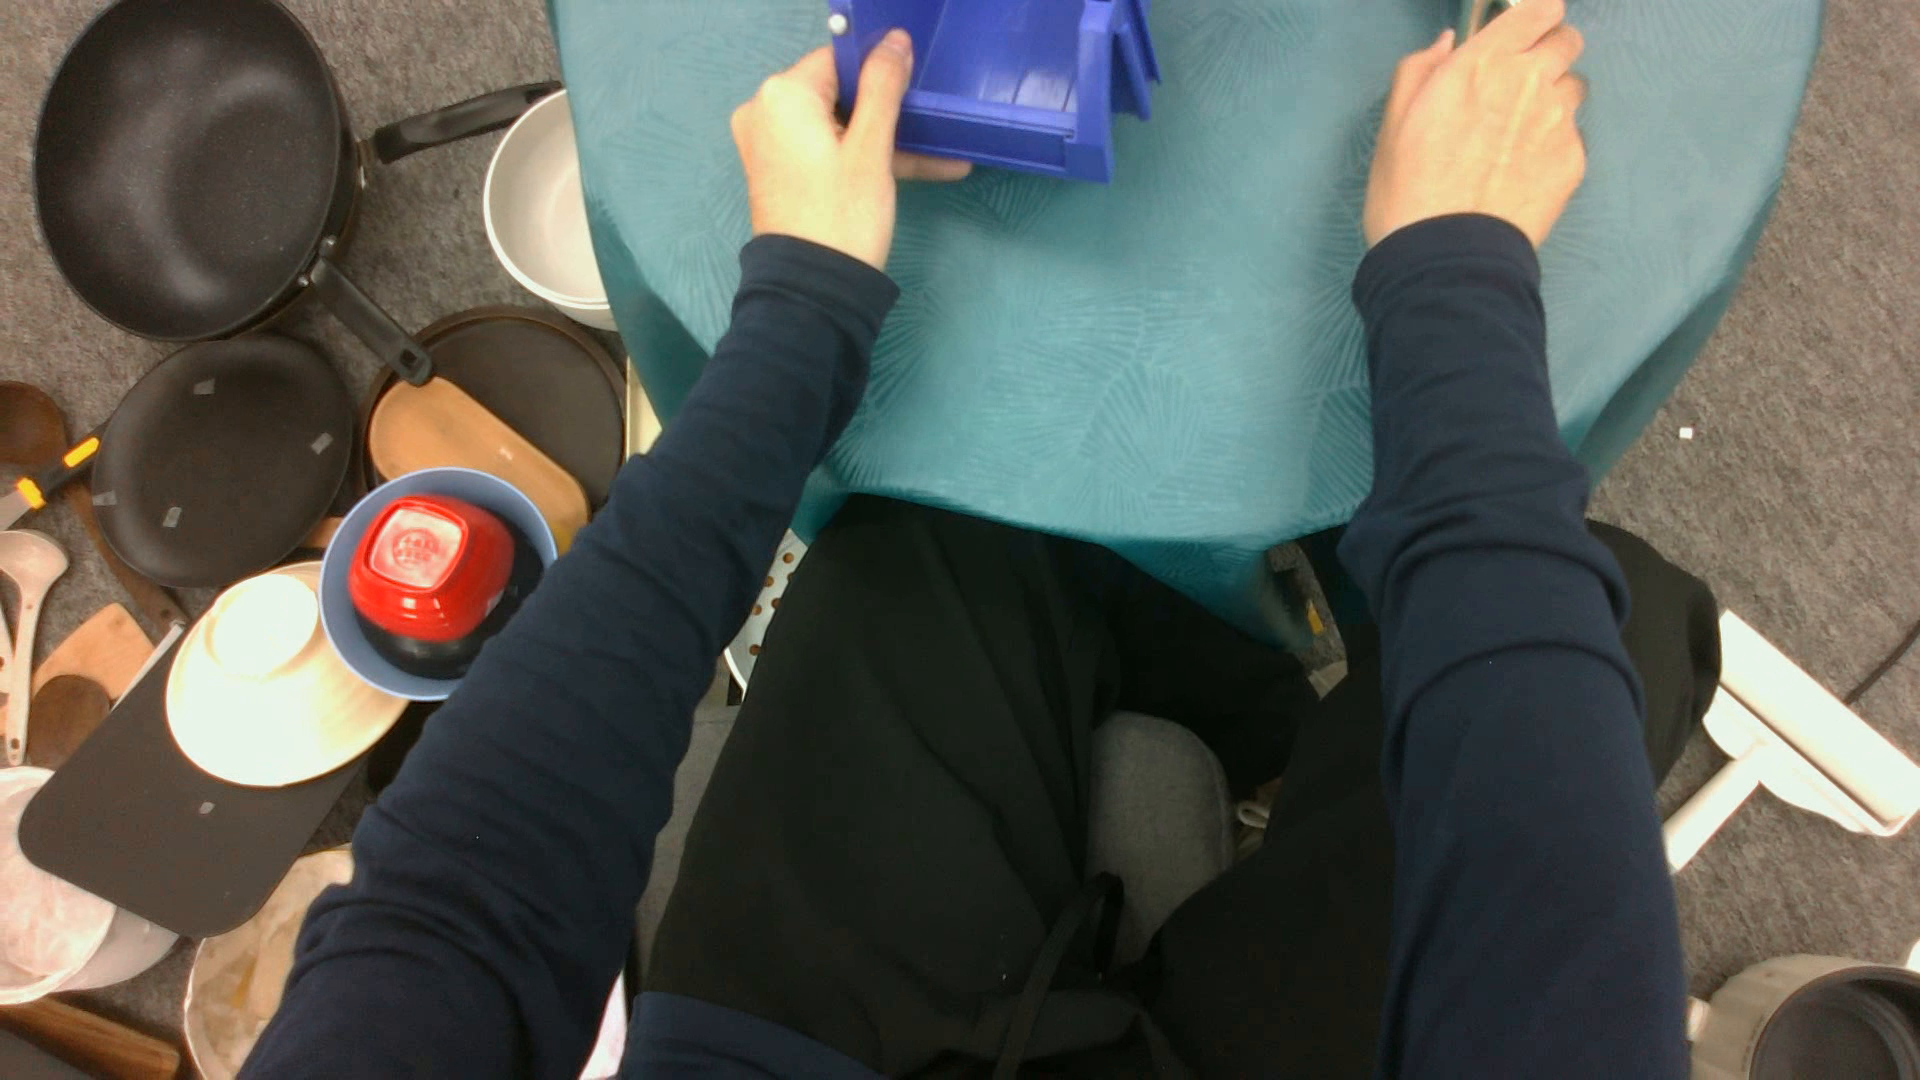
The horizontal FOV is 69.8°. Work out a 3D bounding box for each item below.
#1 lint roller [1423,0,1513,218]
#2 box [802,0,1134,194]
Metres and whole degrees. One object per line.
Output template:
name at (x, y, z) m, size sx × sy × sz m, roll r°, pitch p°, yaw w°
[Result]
lint roller at (0.228, -0.233, 0.605) m, size 0.134 × 0.048 × 0.180 m, roll 7°, pitch 74°, yaw 0°
box at (0.021, -0.246, 0.584) m, size 0.124 × 0.082 × 0.180 m, roll 16°, pitch 78°, yaw 18°
